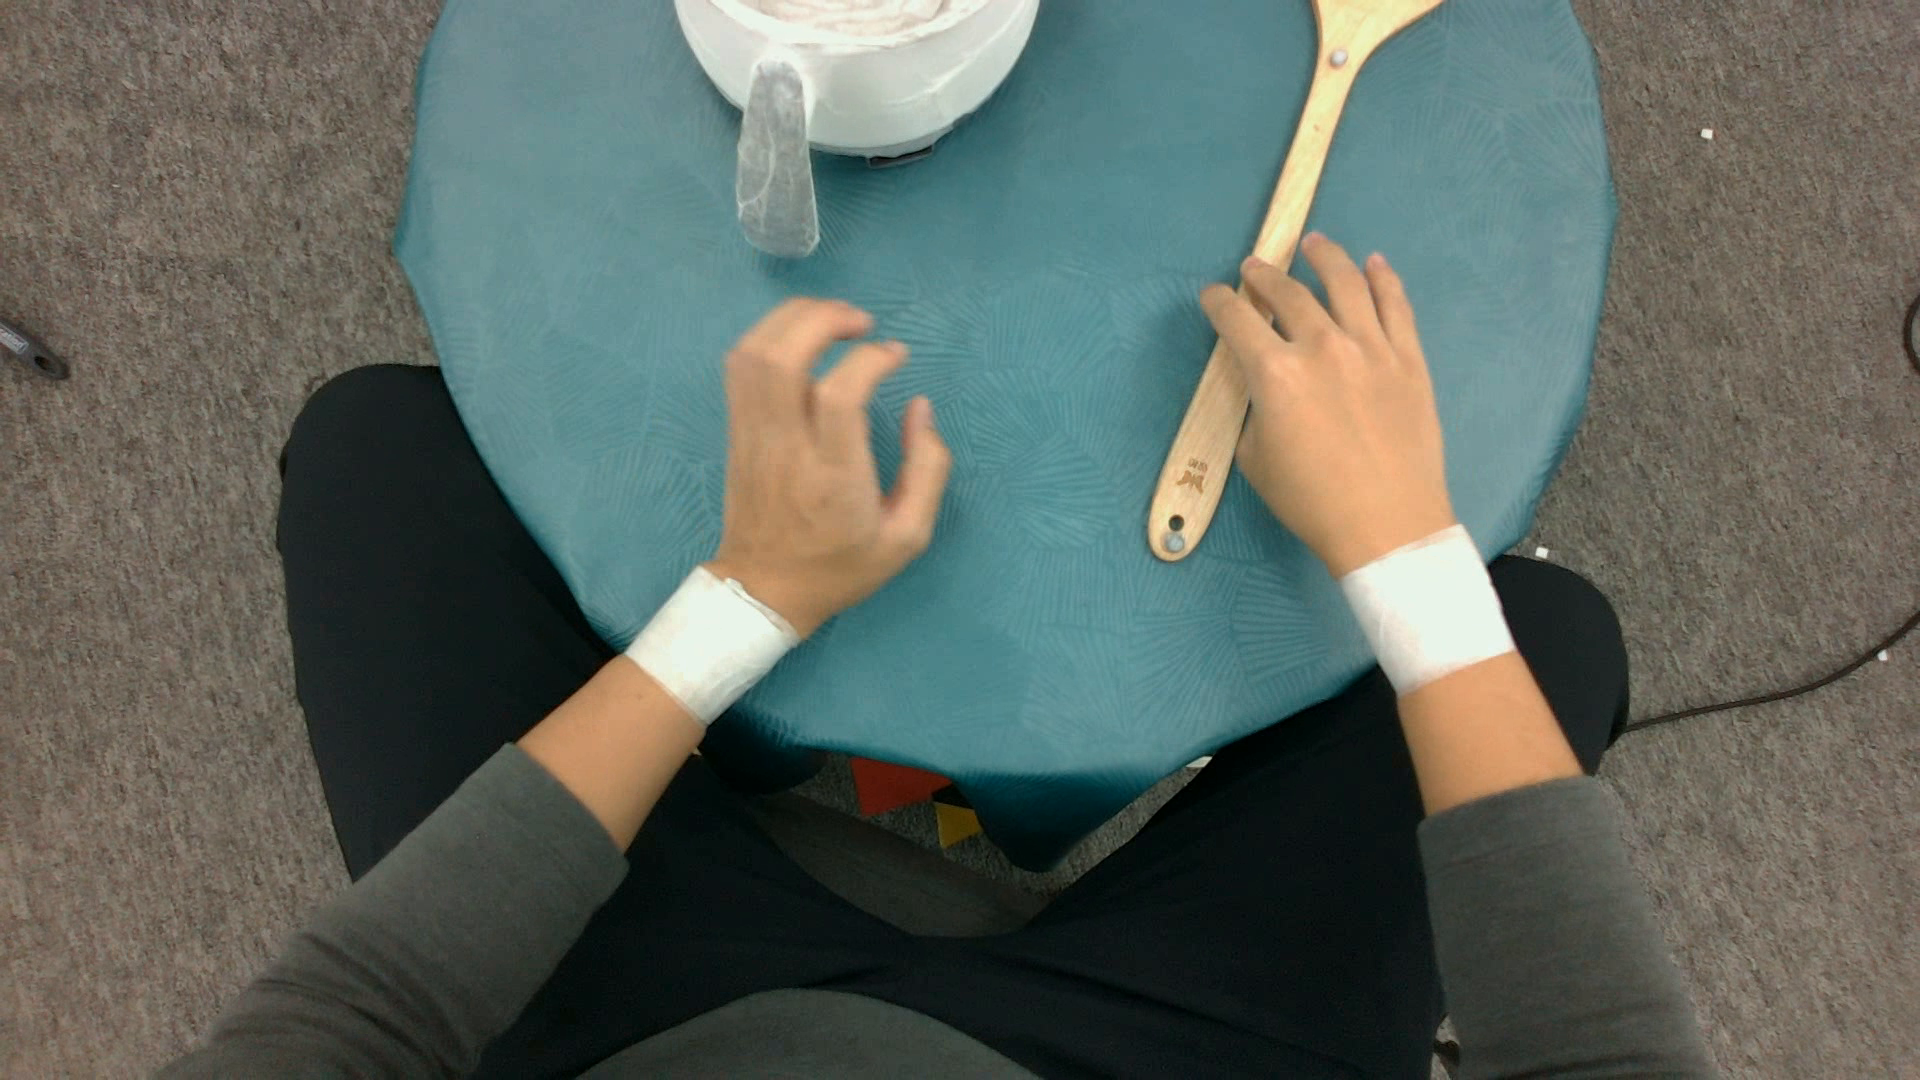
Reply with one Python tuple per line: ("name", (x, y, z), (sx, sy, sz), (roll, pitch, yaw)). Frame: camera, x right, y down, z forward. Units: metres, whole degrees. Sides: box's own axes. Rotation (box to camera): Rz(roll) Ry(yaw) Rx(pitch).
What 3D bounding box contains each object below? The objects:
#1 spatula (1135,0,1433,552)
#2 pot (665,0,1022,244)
("spatula", (0.164, -0.176, 0.687), (0.096, 0.018, 0.391), (20, 83, 1))
("pot", (-0.061, -0.256, 0.624), (0.179, 0.136, 0.234), (15, 83, -1))
